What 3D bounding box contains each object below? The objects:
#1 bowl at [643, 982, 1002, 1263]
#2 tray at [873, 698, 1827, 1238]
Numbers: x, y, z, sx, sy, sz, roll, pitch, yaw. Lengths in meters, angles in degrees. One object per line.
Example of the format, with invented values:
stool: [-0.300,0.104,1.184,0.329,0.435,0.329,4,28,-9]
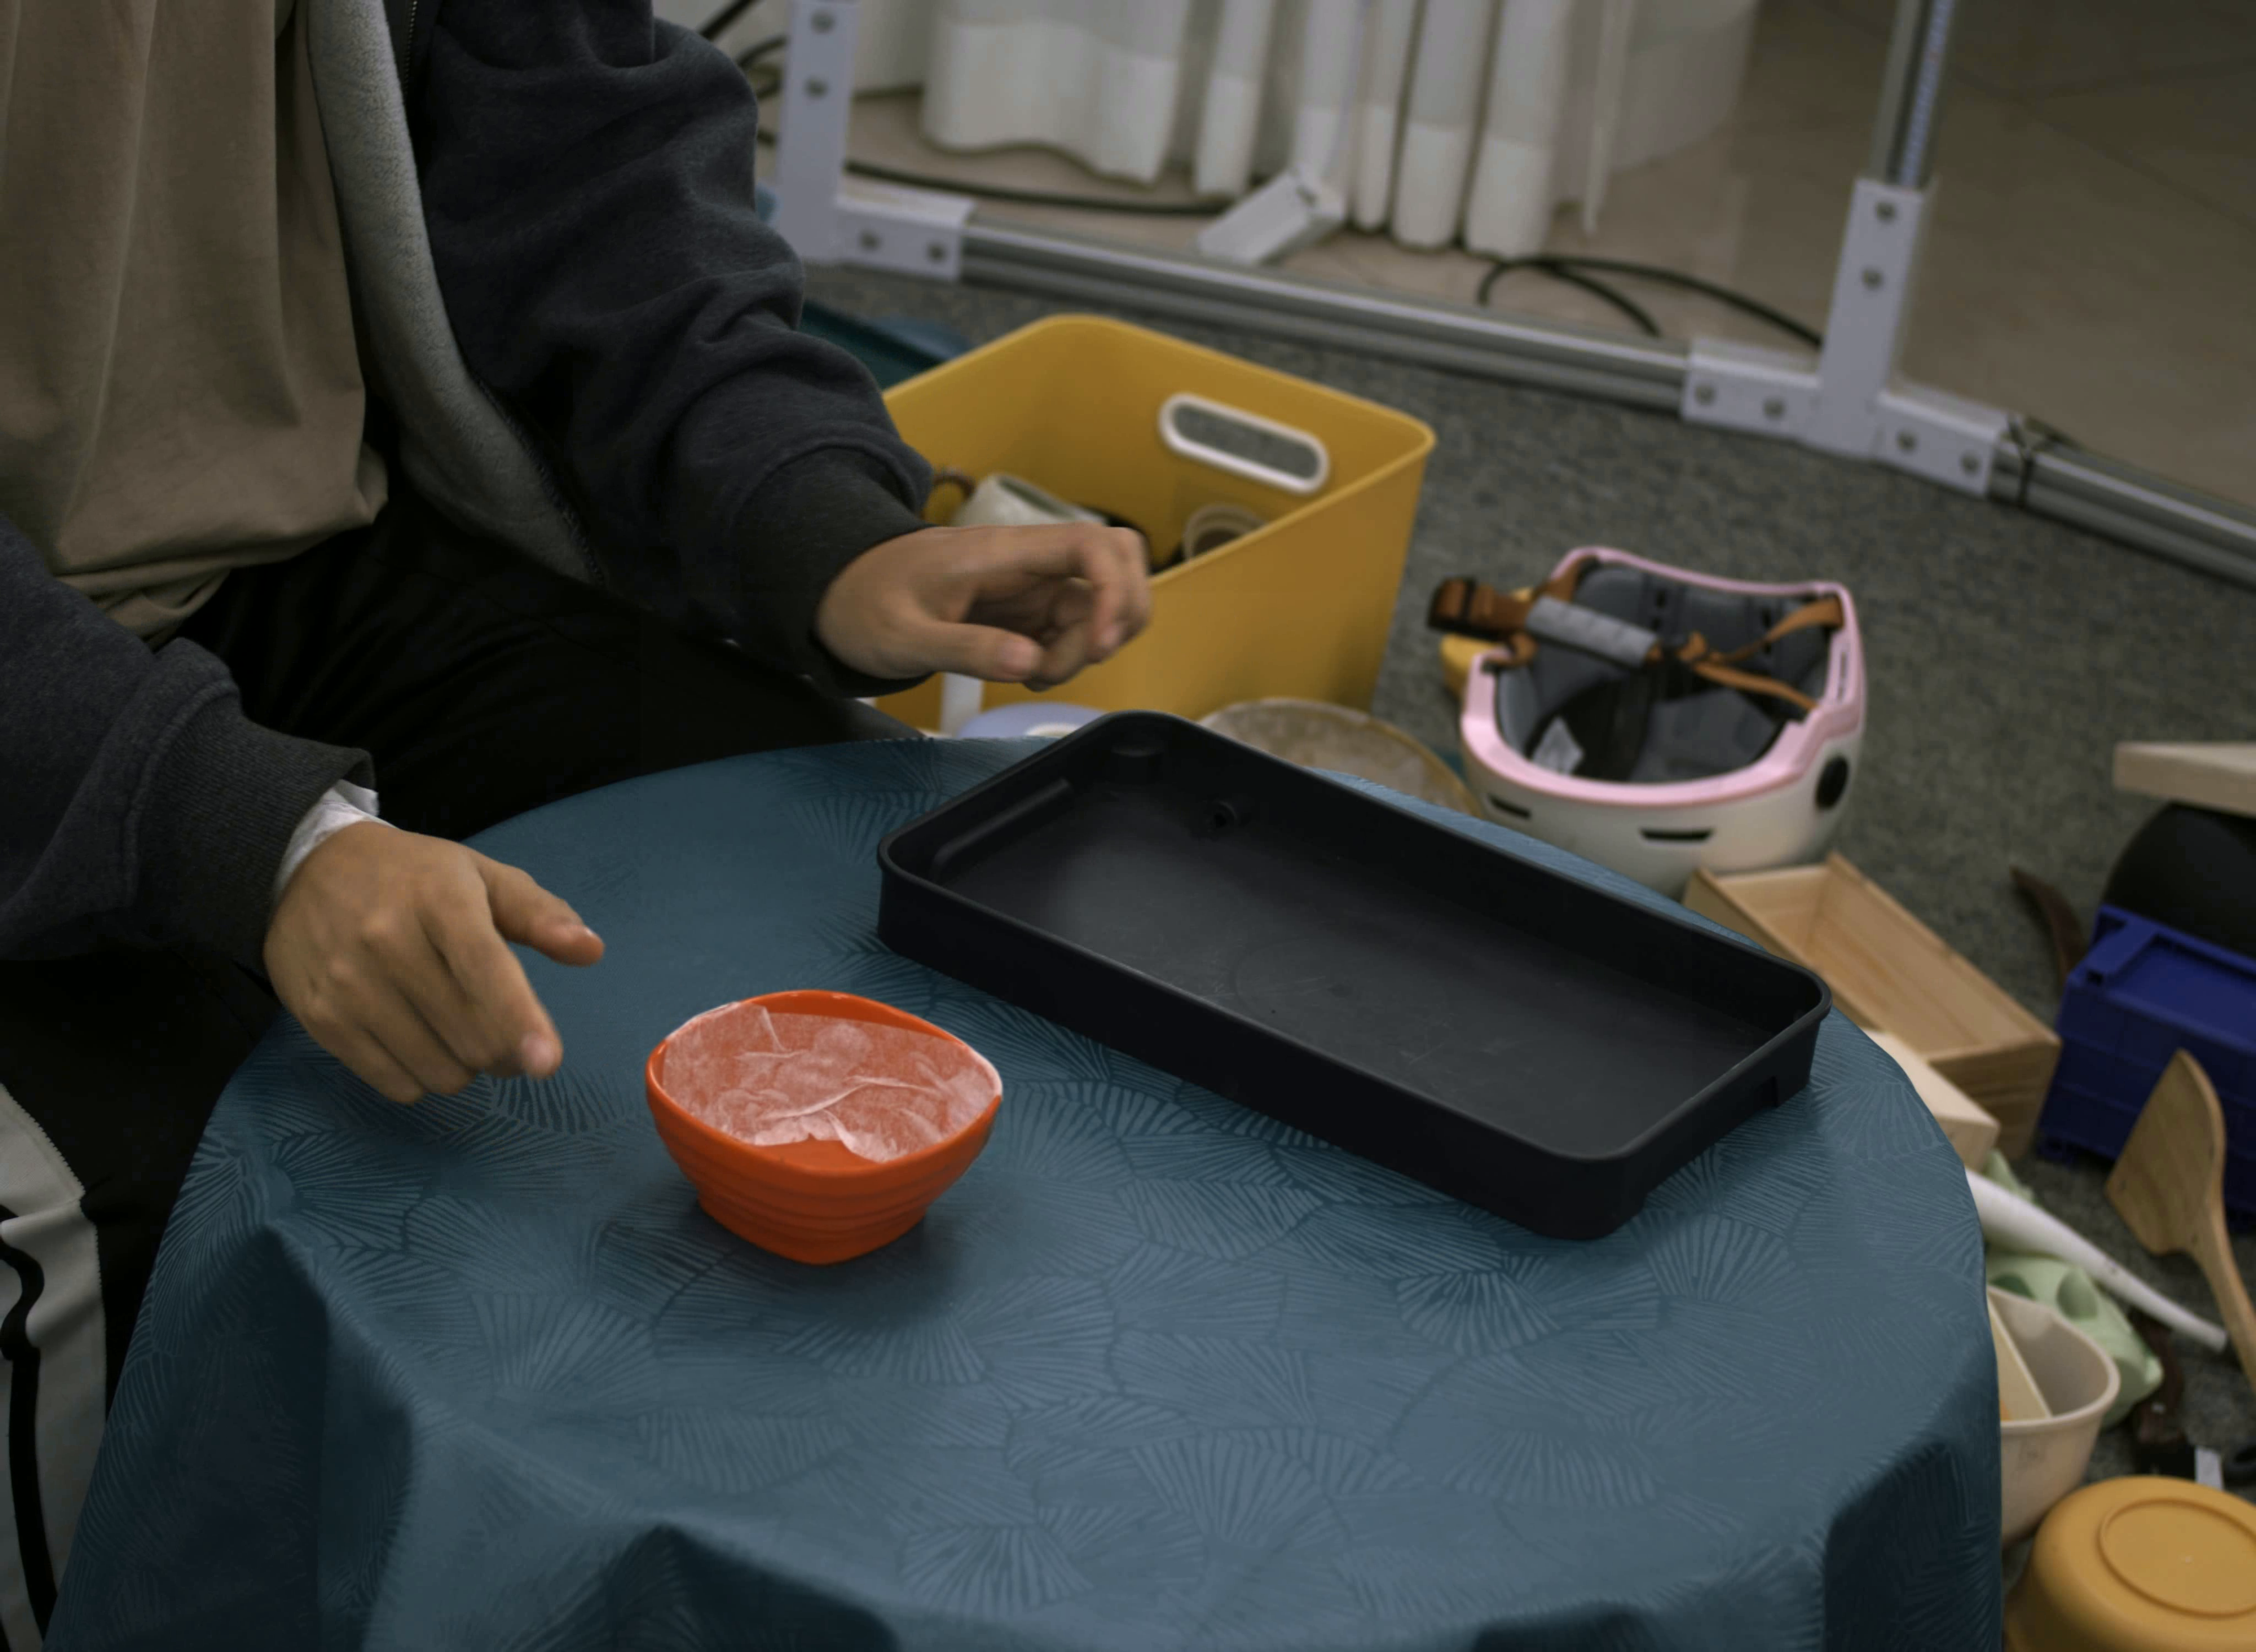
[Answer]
bowl: [-0.103,0.102,1.760,0.118,0.051,0.119,5,28,-3]
tray: [0.077,0.046,1.927,0.320,0.037,0.184,23,31,28]
